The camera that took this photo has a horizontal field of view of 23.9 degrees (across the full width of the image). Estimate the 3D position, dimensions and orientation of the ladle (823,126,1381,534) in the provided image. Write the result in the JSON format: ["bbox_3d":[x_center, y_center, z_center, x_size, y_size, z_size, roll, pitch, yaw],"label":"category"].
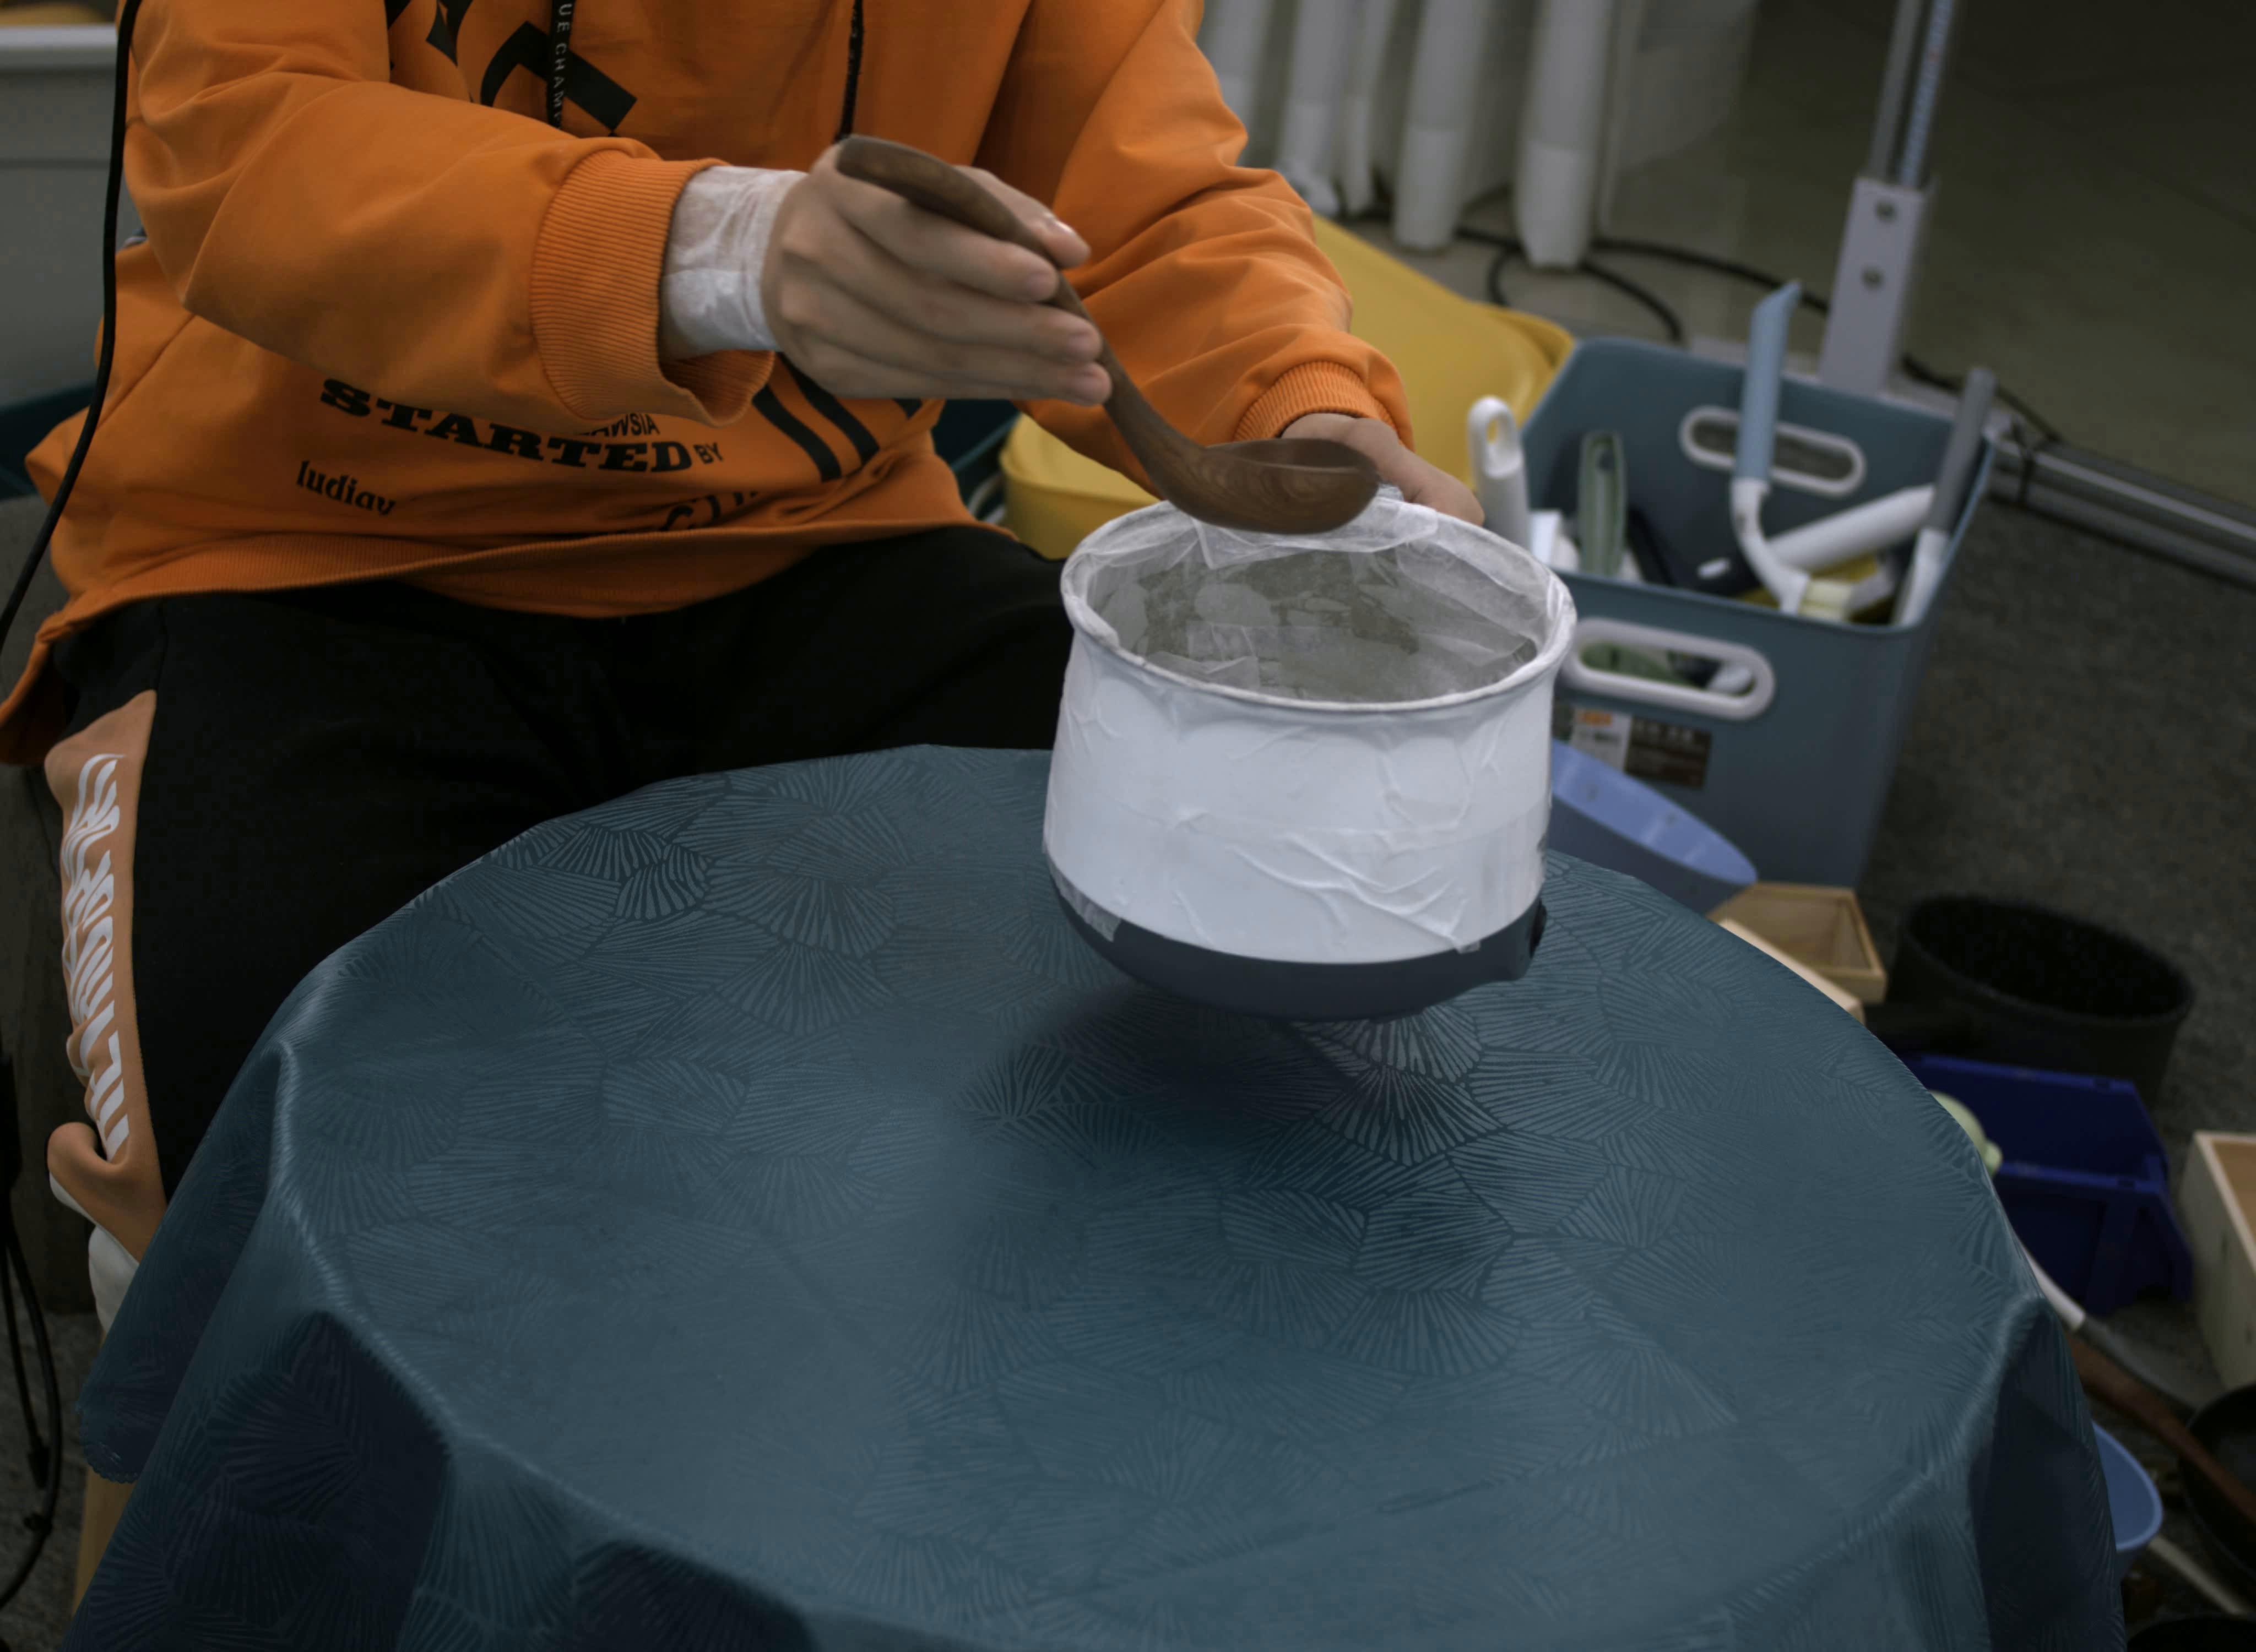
[{"bbox_3d":[-0.008,-0.171,1.758,0.077,0.258,0.065,1,59,44],"label":"ladle"}]

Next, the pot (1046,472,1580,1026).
[{"bbox_3d":[0.067,-0.035,1.867,0.178,0.136,0.234,9,27,9],"label":"pot"}]
